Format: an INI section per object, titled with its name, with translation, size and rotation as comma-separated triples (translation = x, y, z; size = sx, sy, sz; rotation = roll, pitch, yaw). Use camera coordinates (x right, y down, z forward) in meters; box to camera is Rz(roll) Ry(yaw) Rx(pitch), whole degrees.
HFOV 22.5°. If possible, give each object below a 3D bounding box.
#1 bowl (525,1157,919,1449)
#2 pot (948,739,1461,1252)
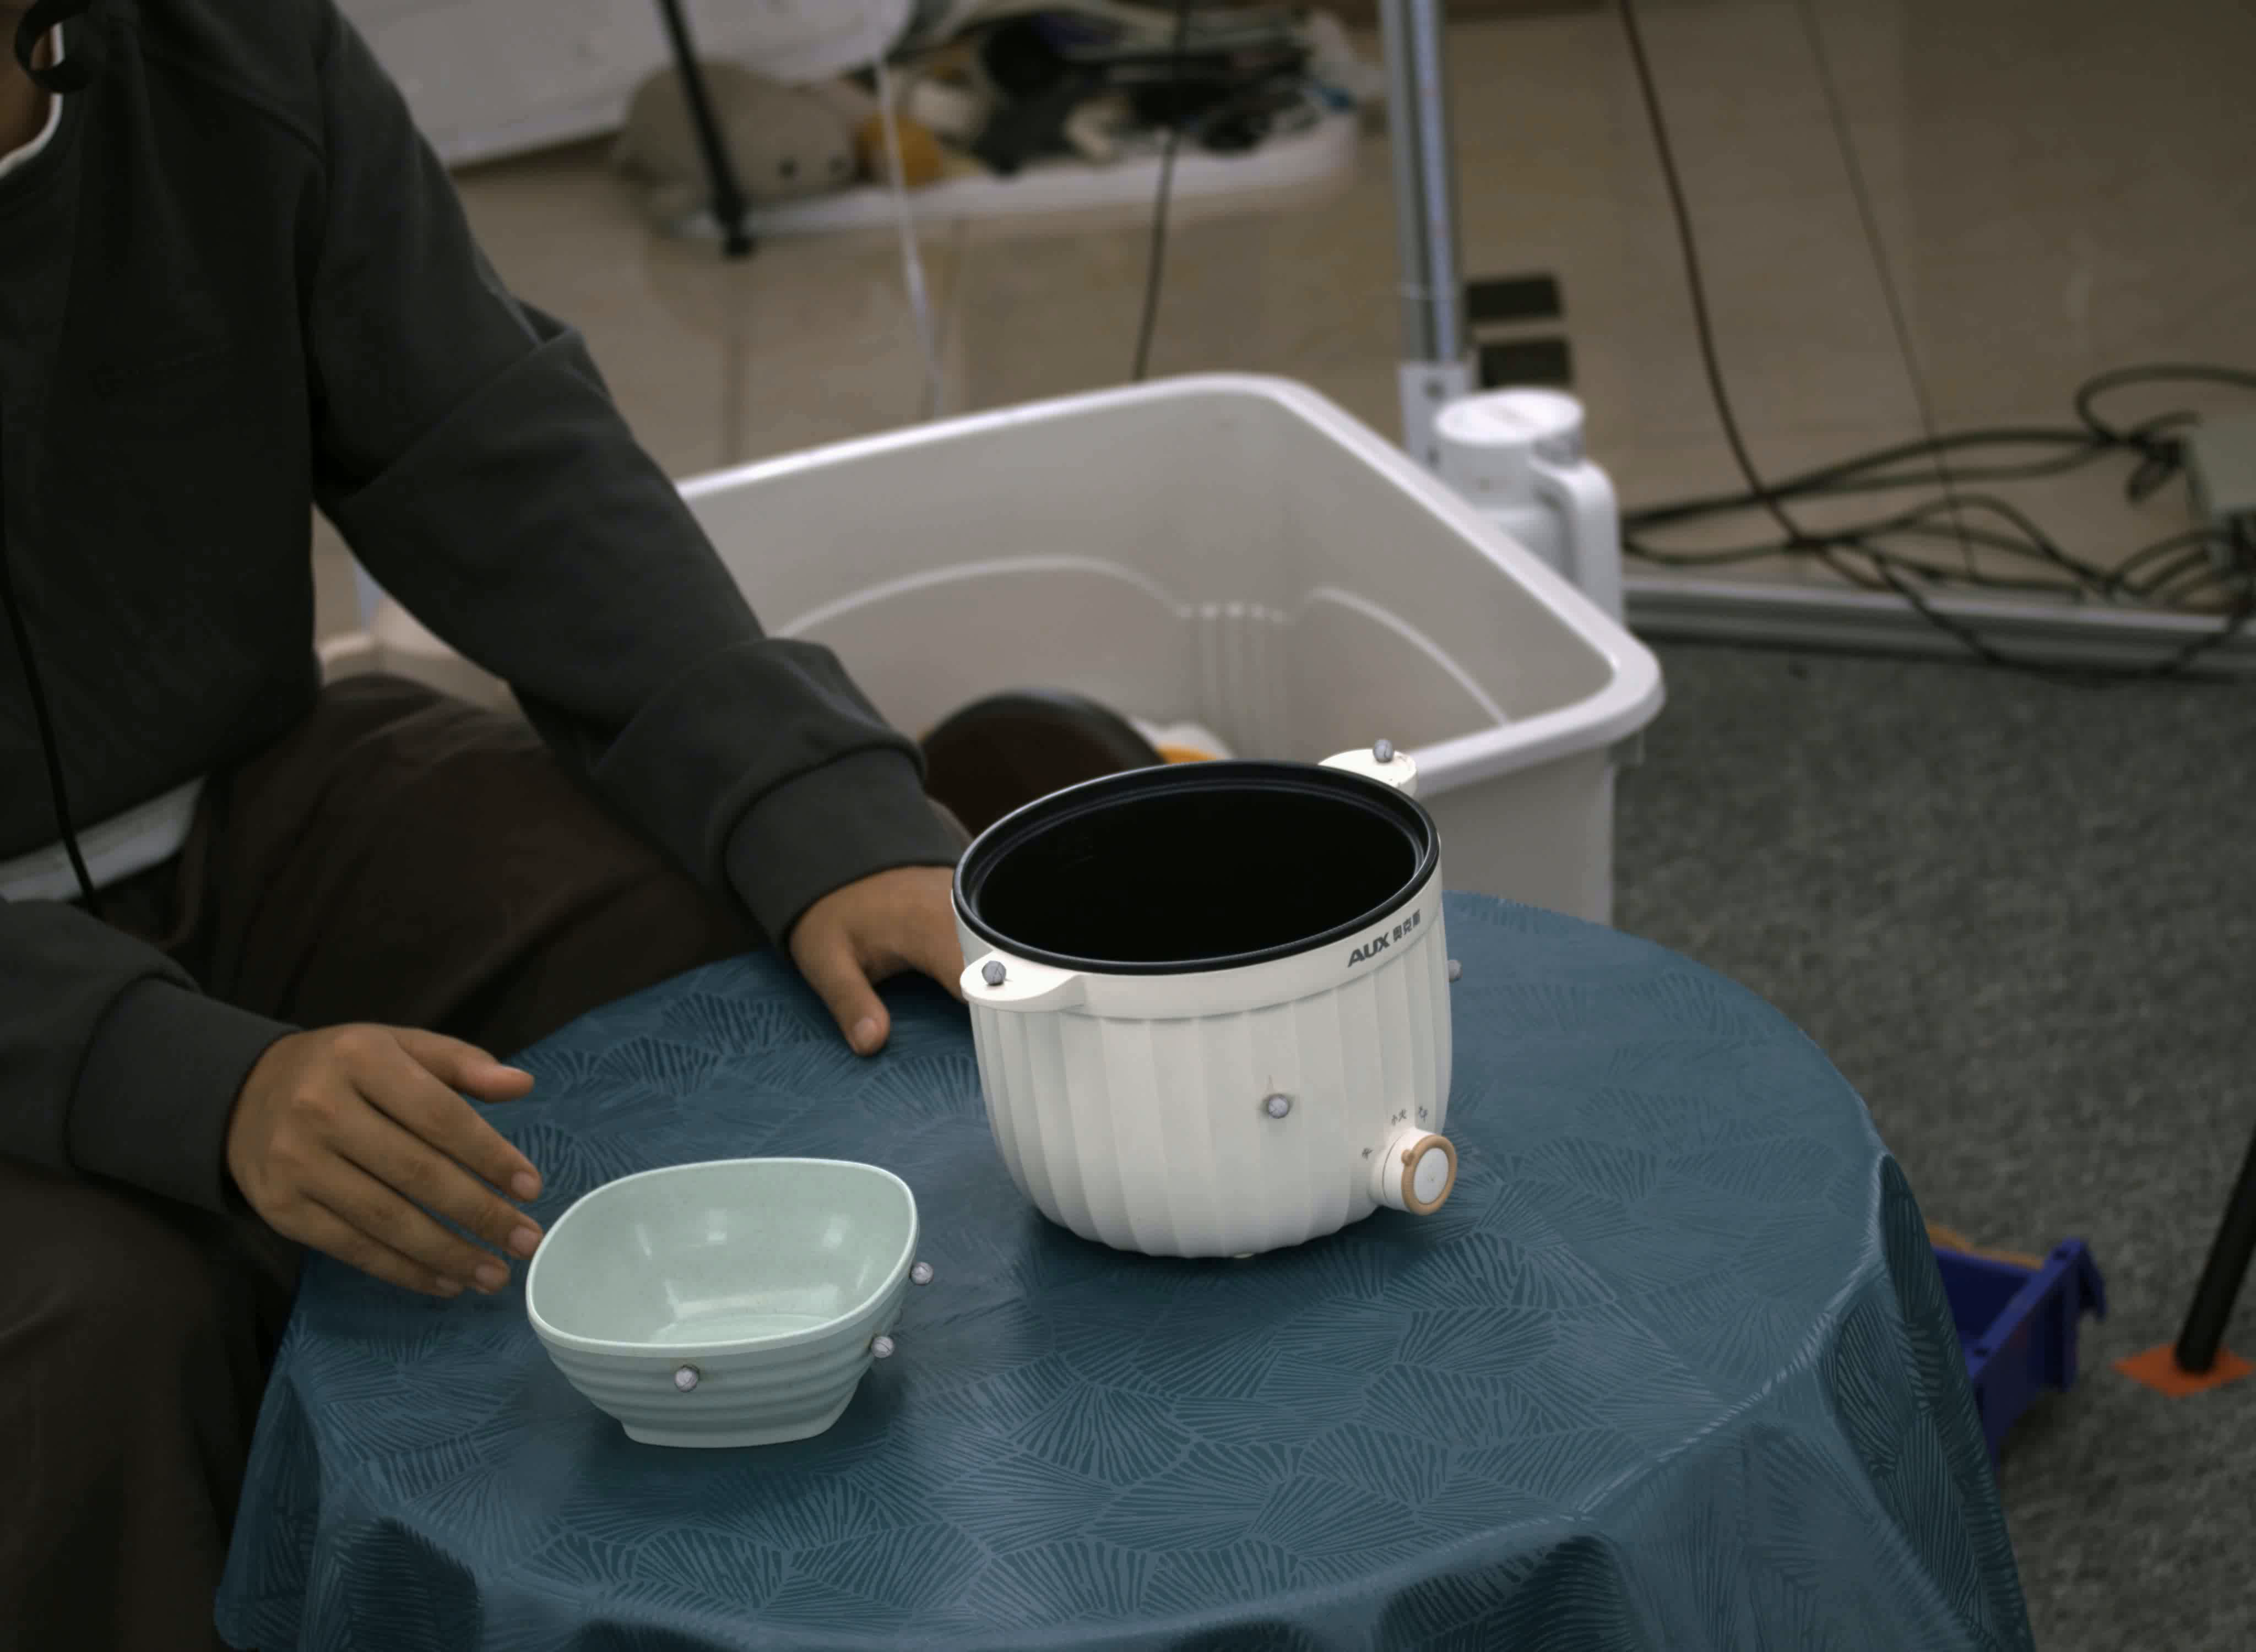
[bowl]
translation = -0.143, 0.177, 2.033
size = 0.151, 0.059, 0.149
rotation = -4, 26, 2
[pot]
translation = 0.036, 0.071, 2.117
size = 0.189, 0.145, 0.238
rotation = 11, 32, 39
